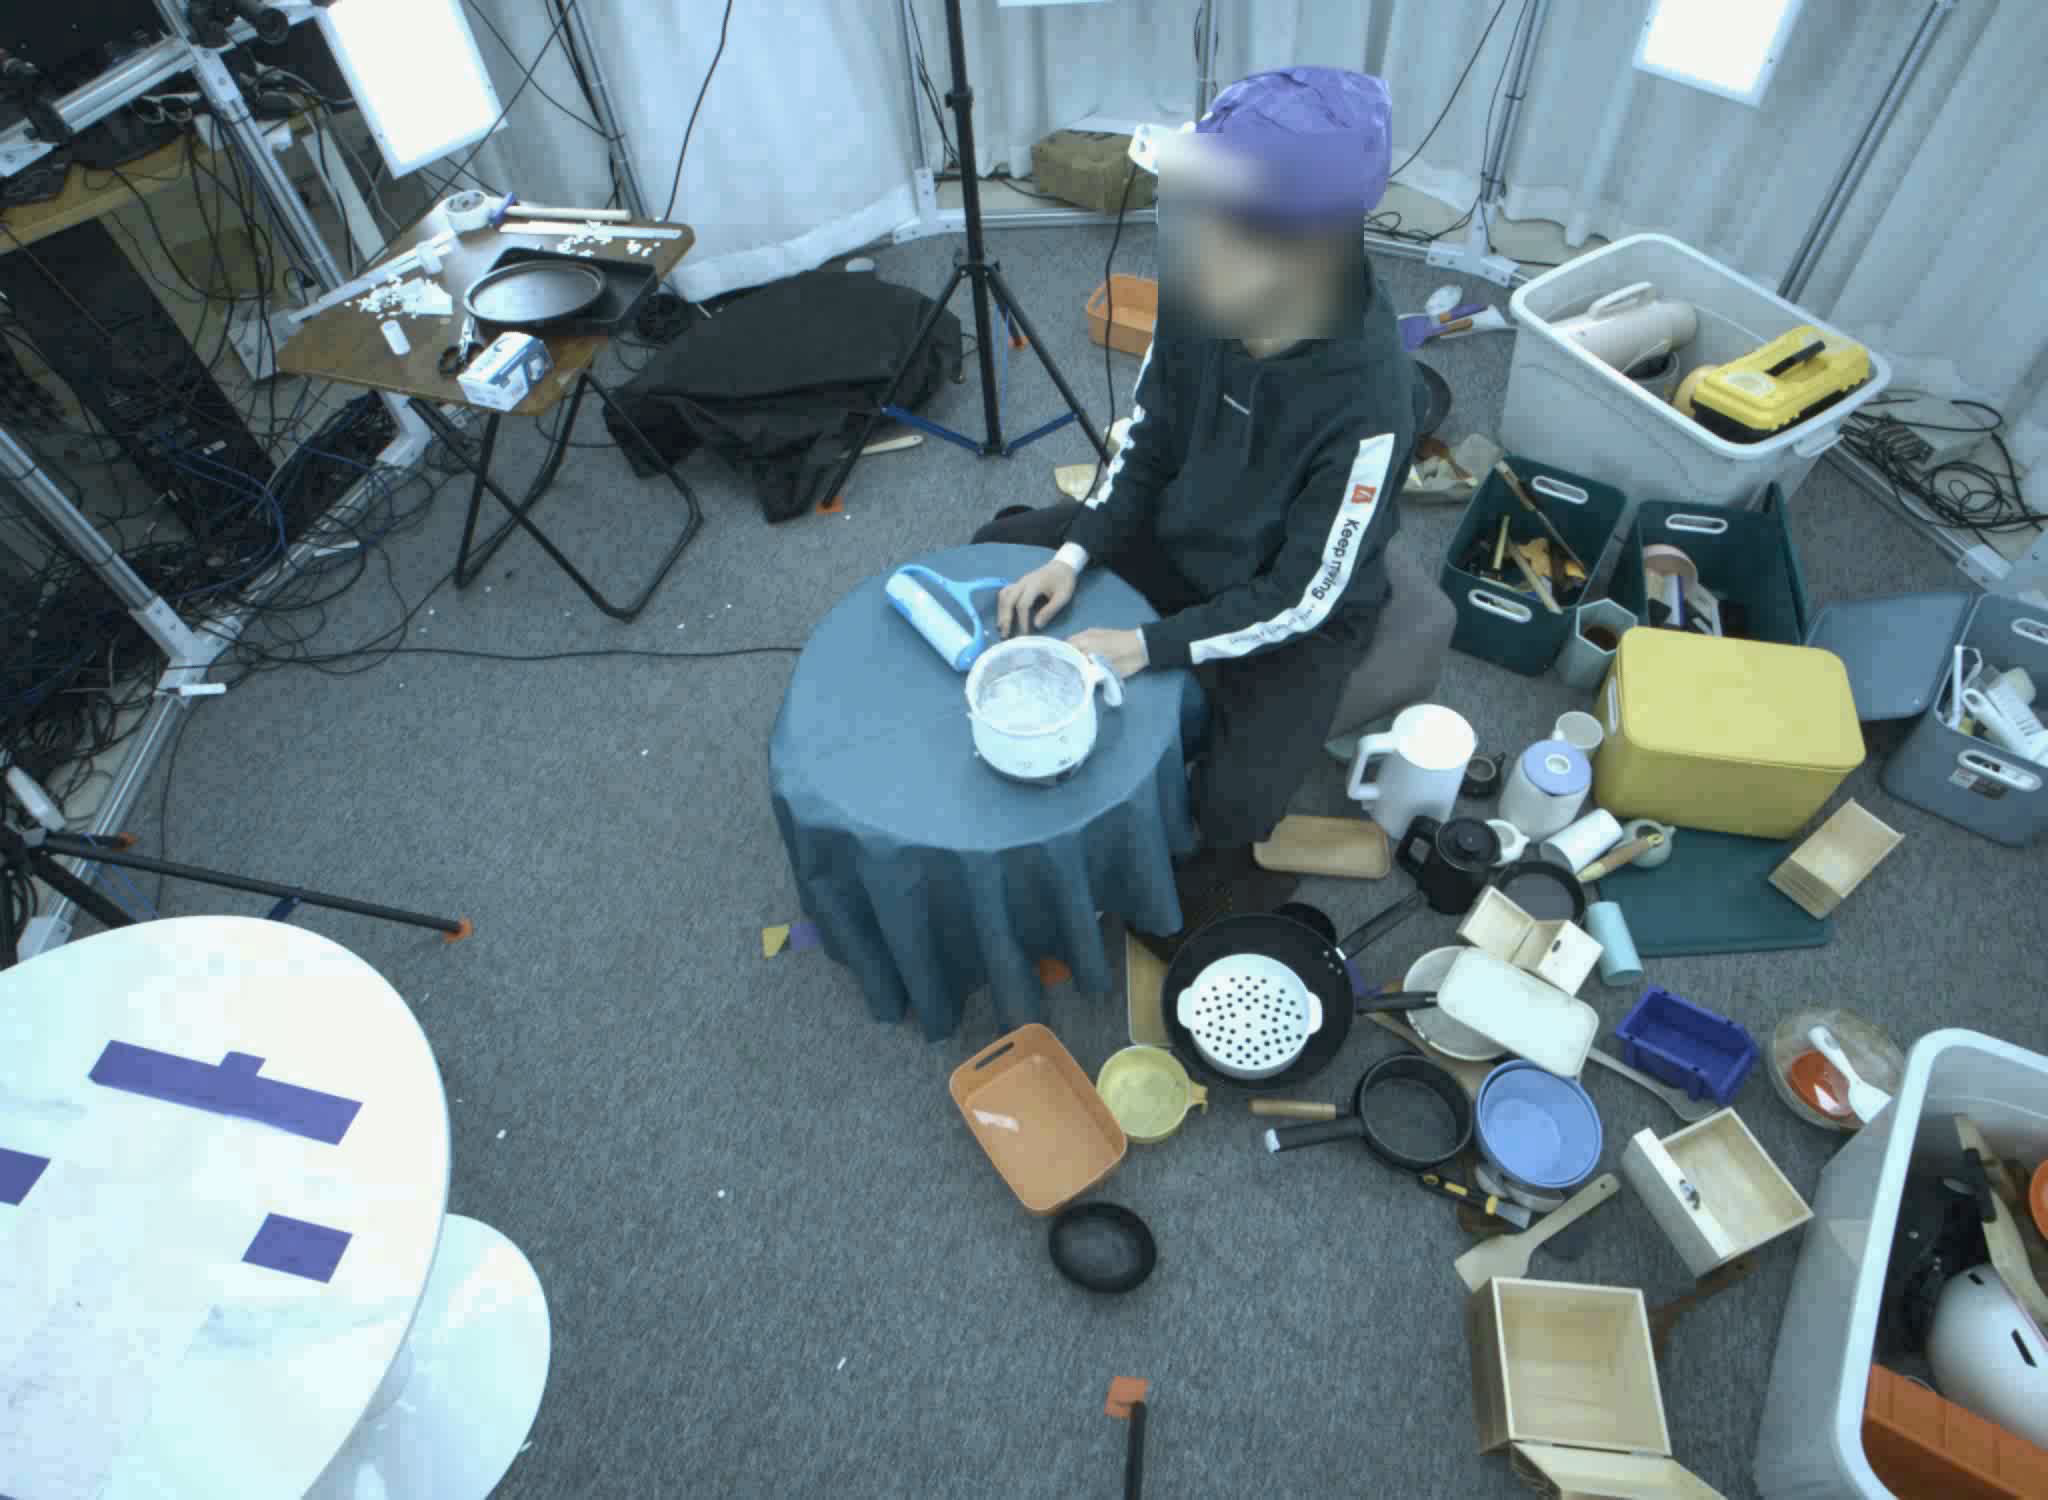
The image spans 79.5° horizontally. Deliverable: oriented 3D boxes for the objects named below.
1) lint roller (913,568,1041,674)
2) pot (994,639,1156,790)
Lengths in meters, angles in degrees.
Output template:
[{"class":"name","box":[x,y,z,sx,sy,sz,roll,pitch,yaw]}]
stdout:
[{"class":"lint roller","box":[-0.052,-0.228,1.912,0.181,0.069,0.224,-35,59,-20]},{"class":"pot","box":[0.078,-0.058,1.734,0.235,0.138,0.175,-24,57,-12]}]
